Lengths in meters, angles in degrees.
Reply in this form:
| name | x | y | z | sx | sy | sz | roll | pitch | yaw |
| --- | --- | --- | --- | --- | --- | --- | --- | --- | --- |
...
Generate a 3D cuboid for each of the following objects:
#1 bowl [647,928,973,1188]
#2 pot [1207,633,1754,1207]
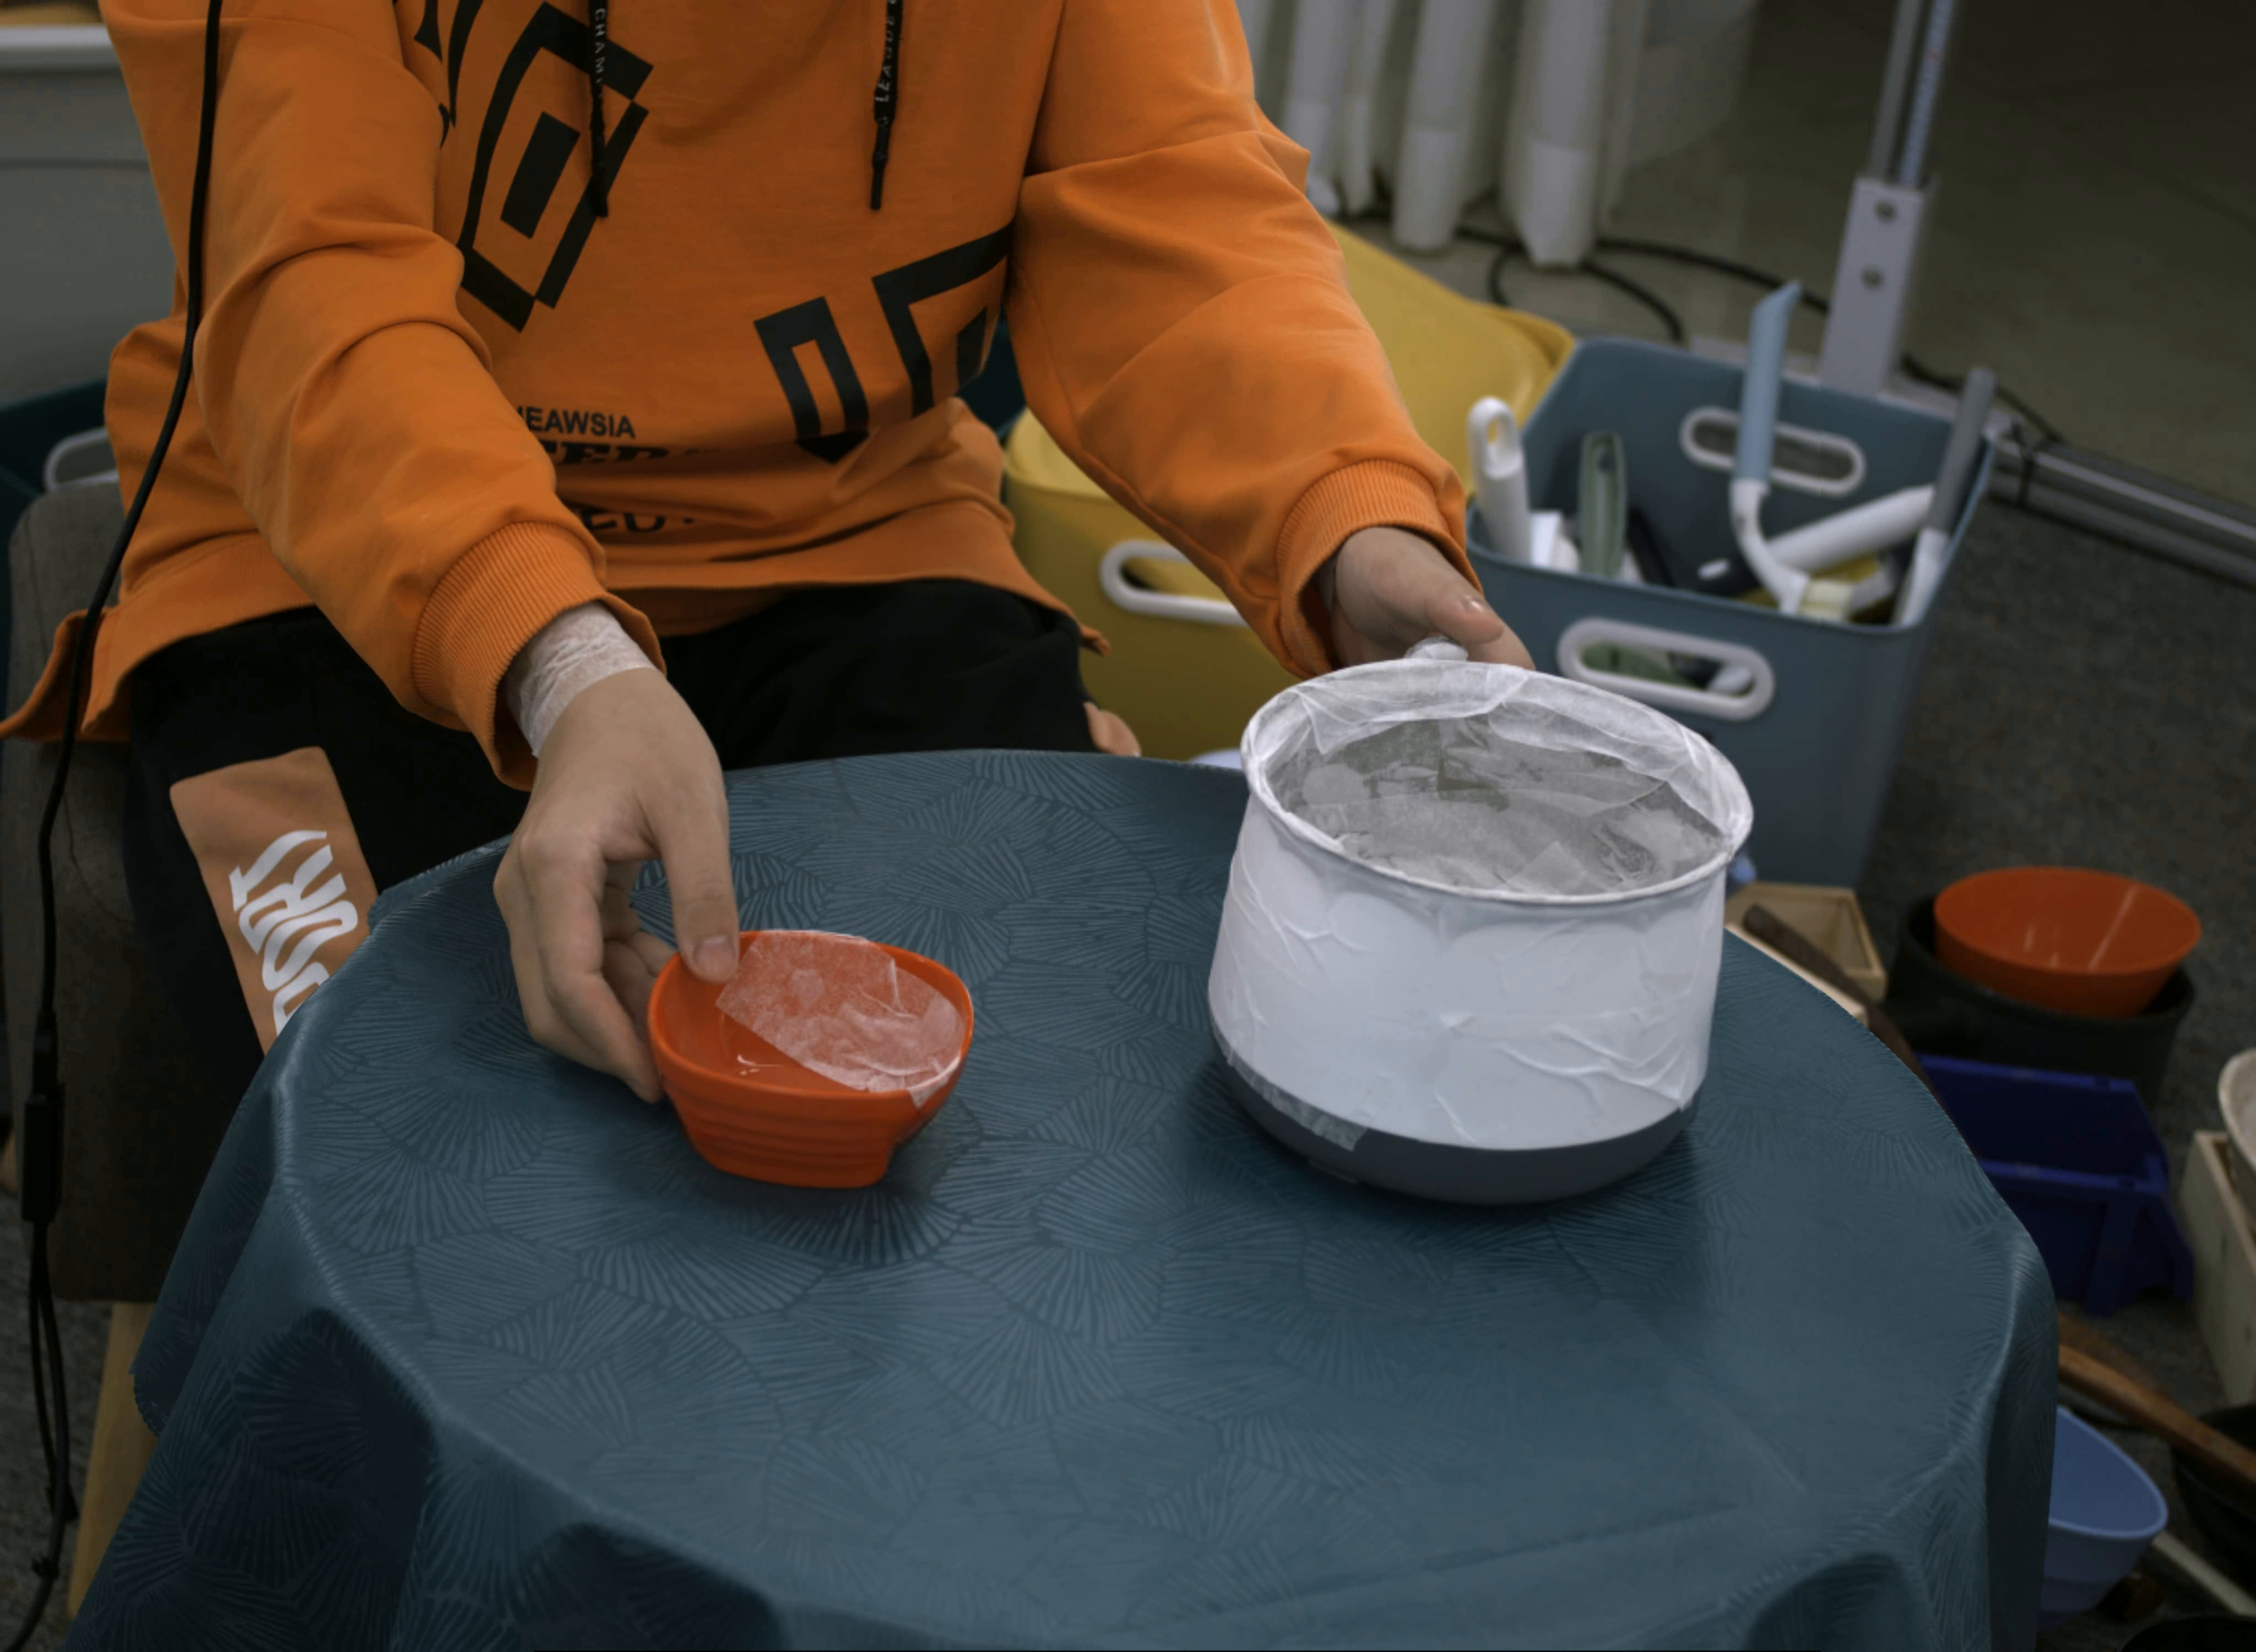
| name | x | y | z | sx | sy | sz | roll | pitch | yaw |
| --- | --- | --- | --- | --- | --- | --- | --- | --- | --- |
| bowl | -0.109 | 0.083 | 1.802 | 0.118 | 0.051 | 0.119 | 4 | 28 | -3 |
| pot | 0.114 | 0.026 | 1.869 | 0.178 | 0.136 | 0.235 | 2 | 28 | -11 |
